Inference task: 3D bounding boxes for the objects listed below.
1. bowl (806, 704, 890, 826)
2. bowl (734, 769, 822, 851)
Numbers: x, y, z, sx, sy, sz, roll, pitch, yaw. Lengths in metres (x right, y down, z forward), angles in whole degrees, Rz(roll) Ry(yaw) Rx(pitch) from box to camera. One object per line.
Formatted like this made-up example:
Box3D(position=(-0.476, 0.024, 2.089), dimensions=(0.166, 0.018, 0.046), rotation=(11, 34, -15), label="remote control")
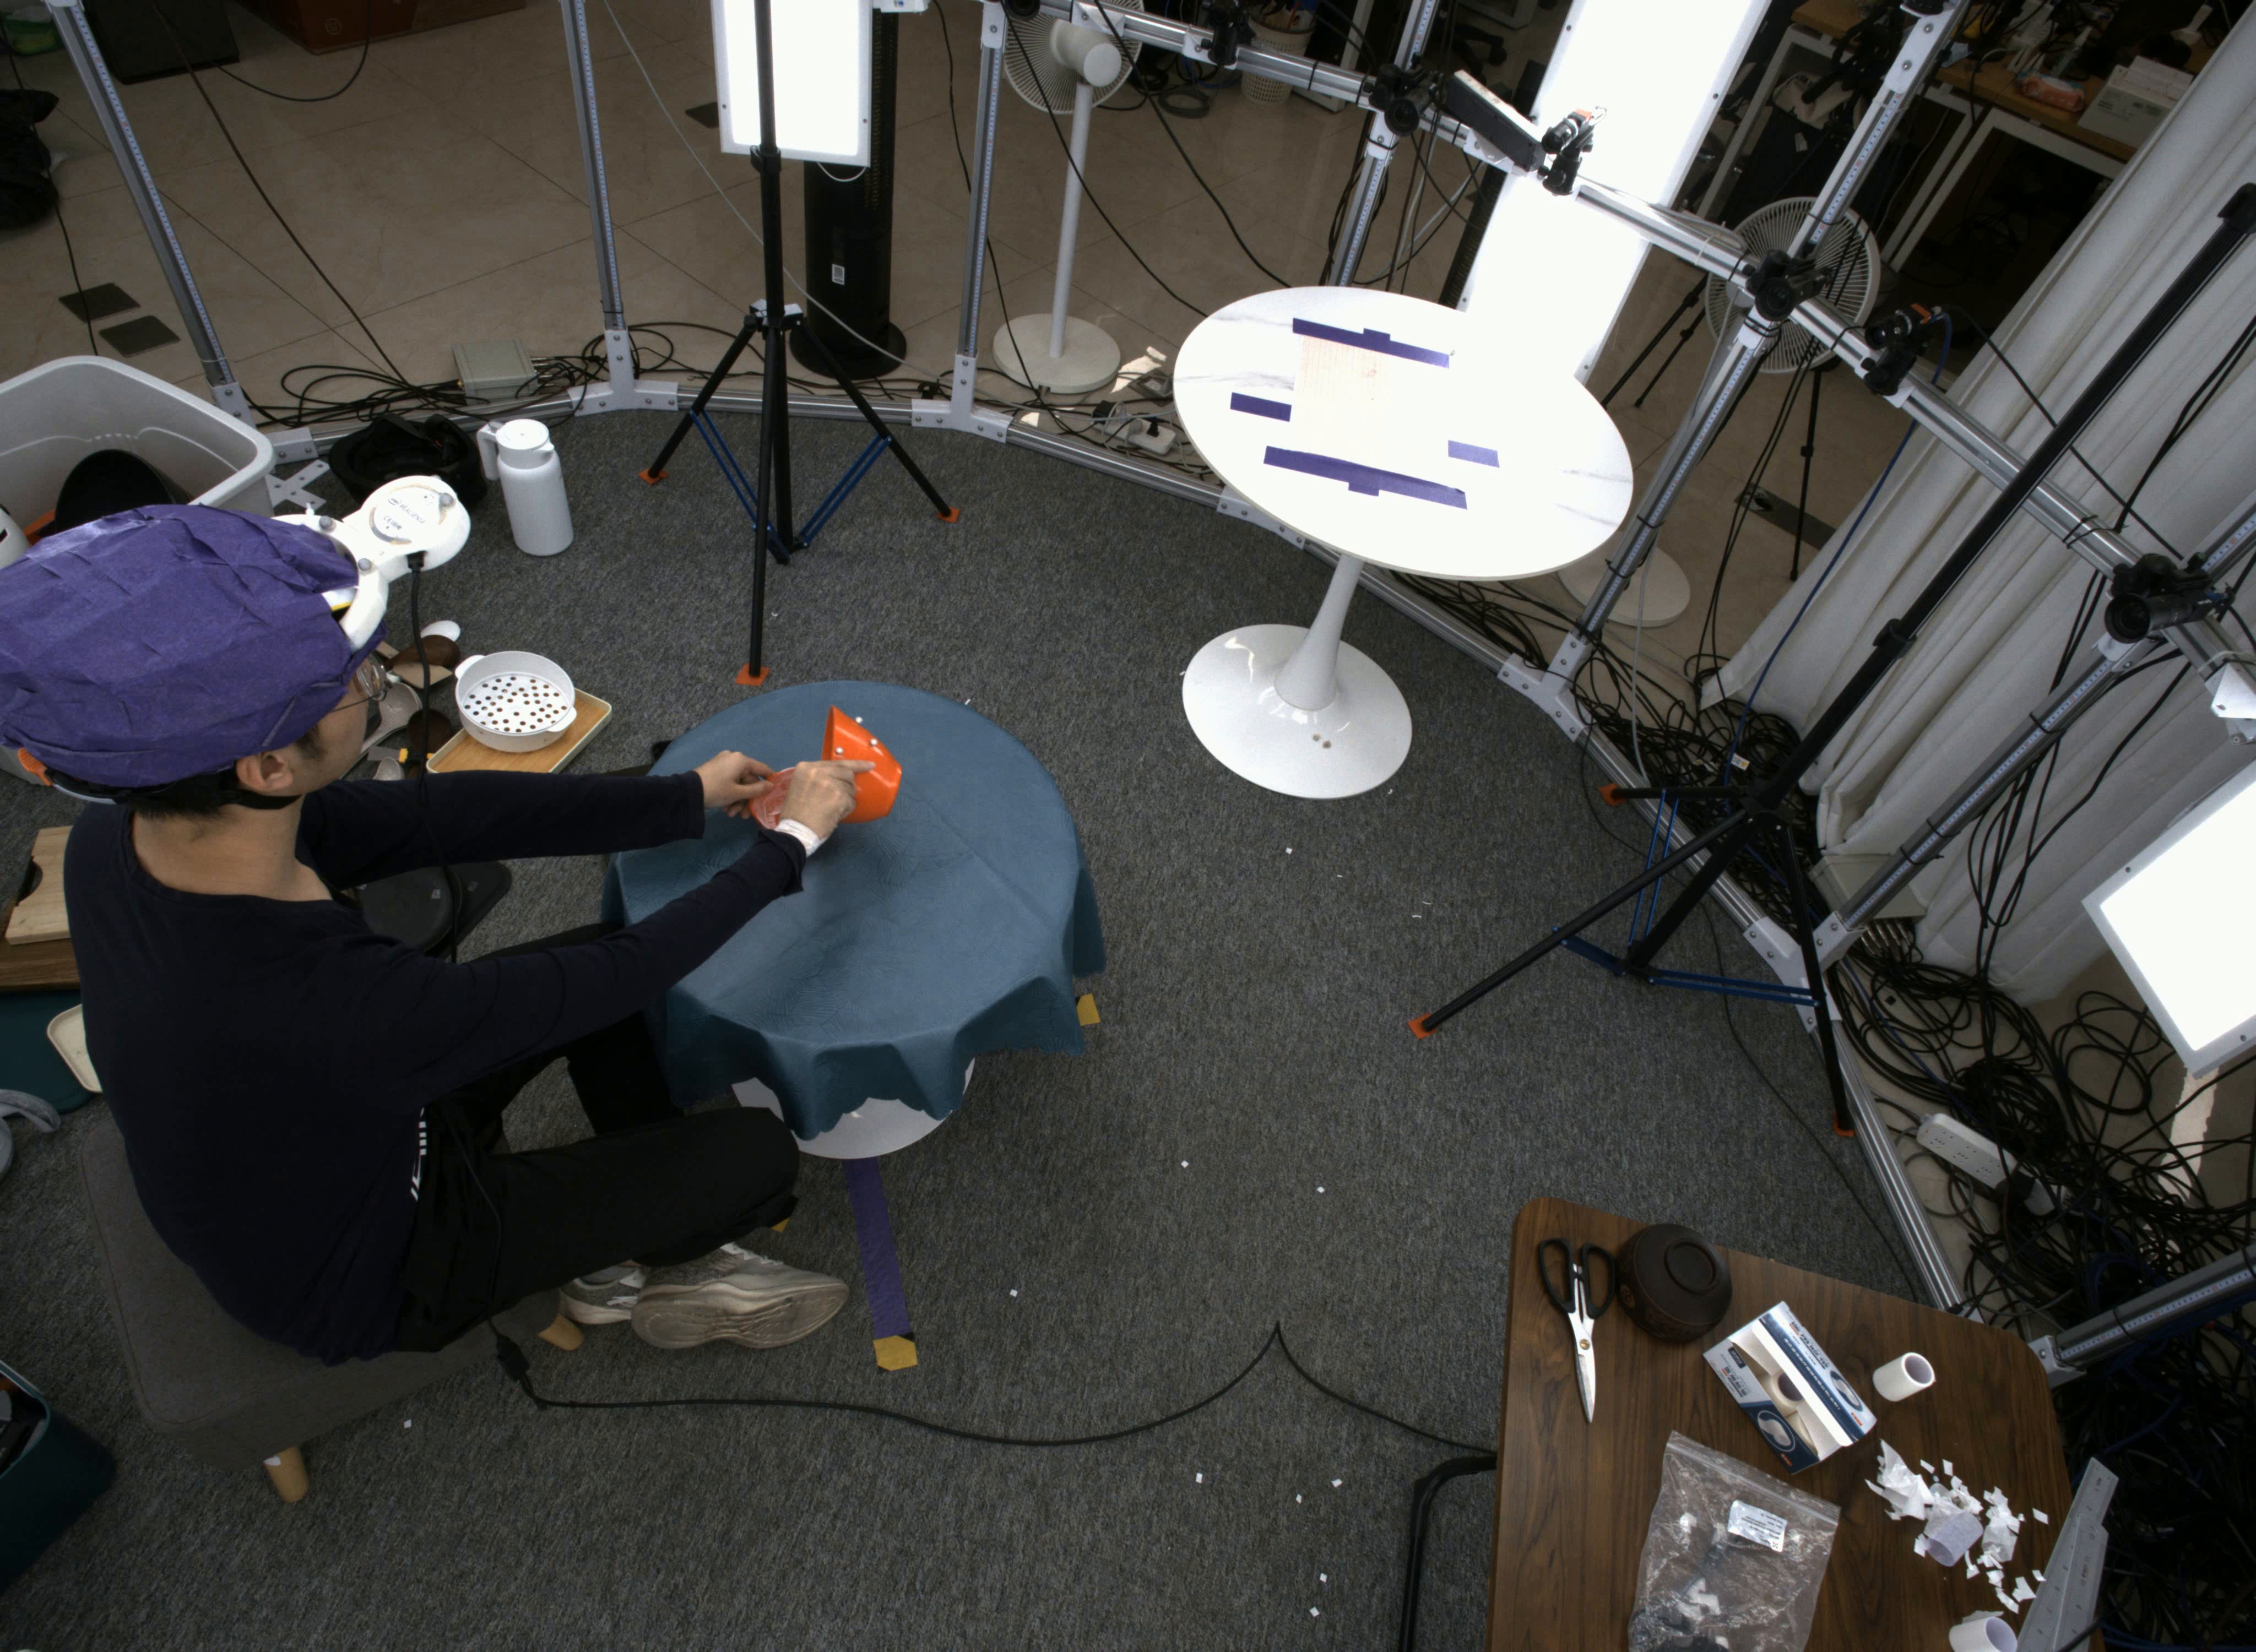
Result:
Box3D(position=(-0.357, -0.067, 1.640), dimensions=(0.106, 0.149, 0.145), rotation=(14, 50, -18), label="bowl")
Box3D(position=(-0.456, -0.014, 1.705), dimensions=(0.119, 0.052, 0.117), rotation=(8, 54, -9), label="bowl")
